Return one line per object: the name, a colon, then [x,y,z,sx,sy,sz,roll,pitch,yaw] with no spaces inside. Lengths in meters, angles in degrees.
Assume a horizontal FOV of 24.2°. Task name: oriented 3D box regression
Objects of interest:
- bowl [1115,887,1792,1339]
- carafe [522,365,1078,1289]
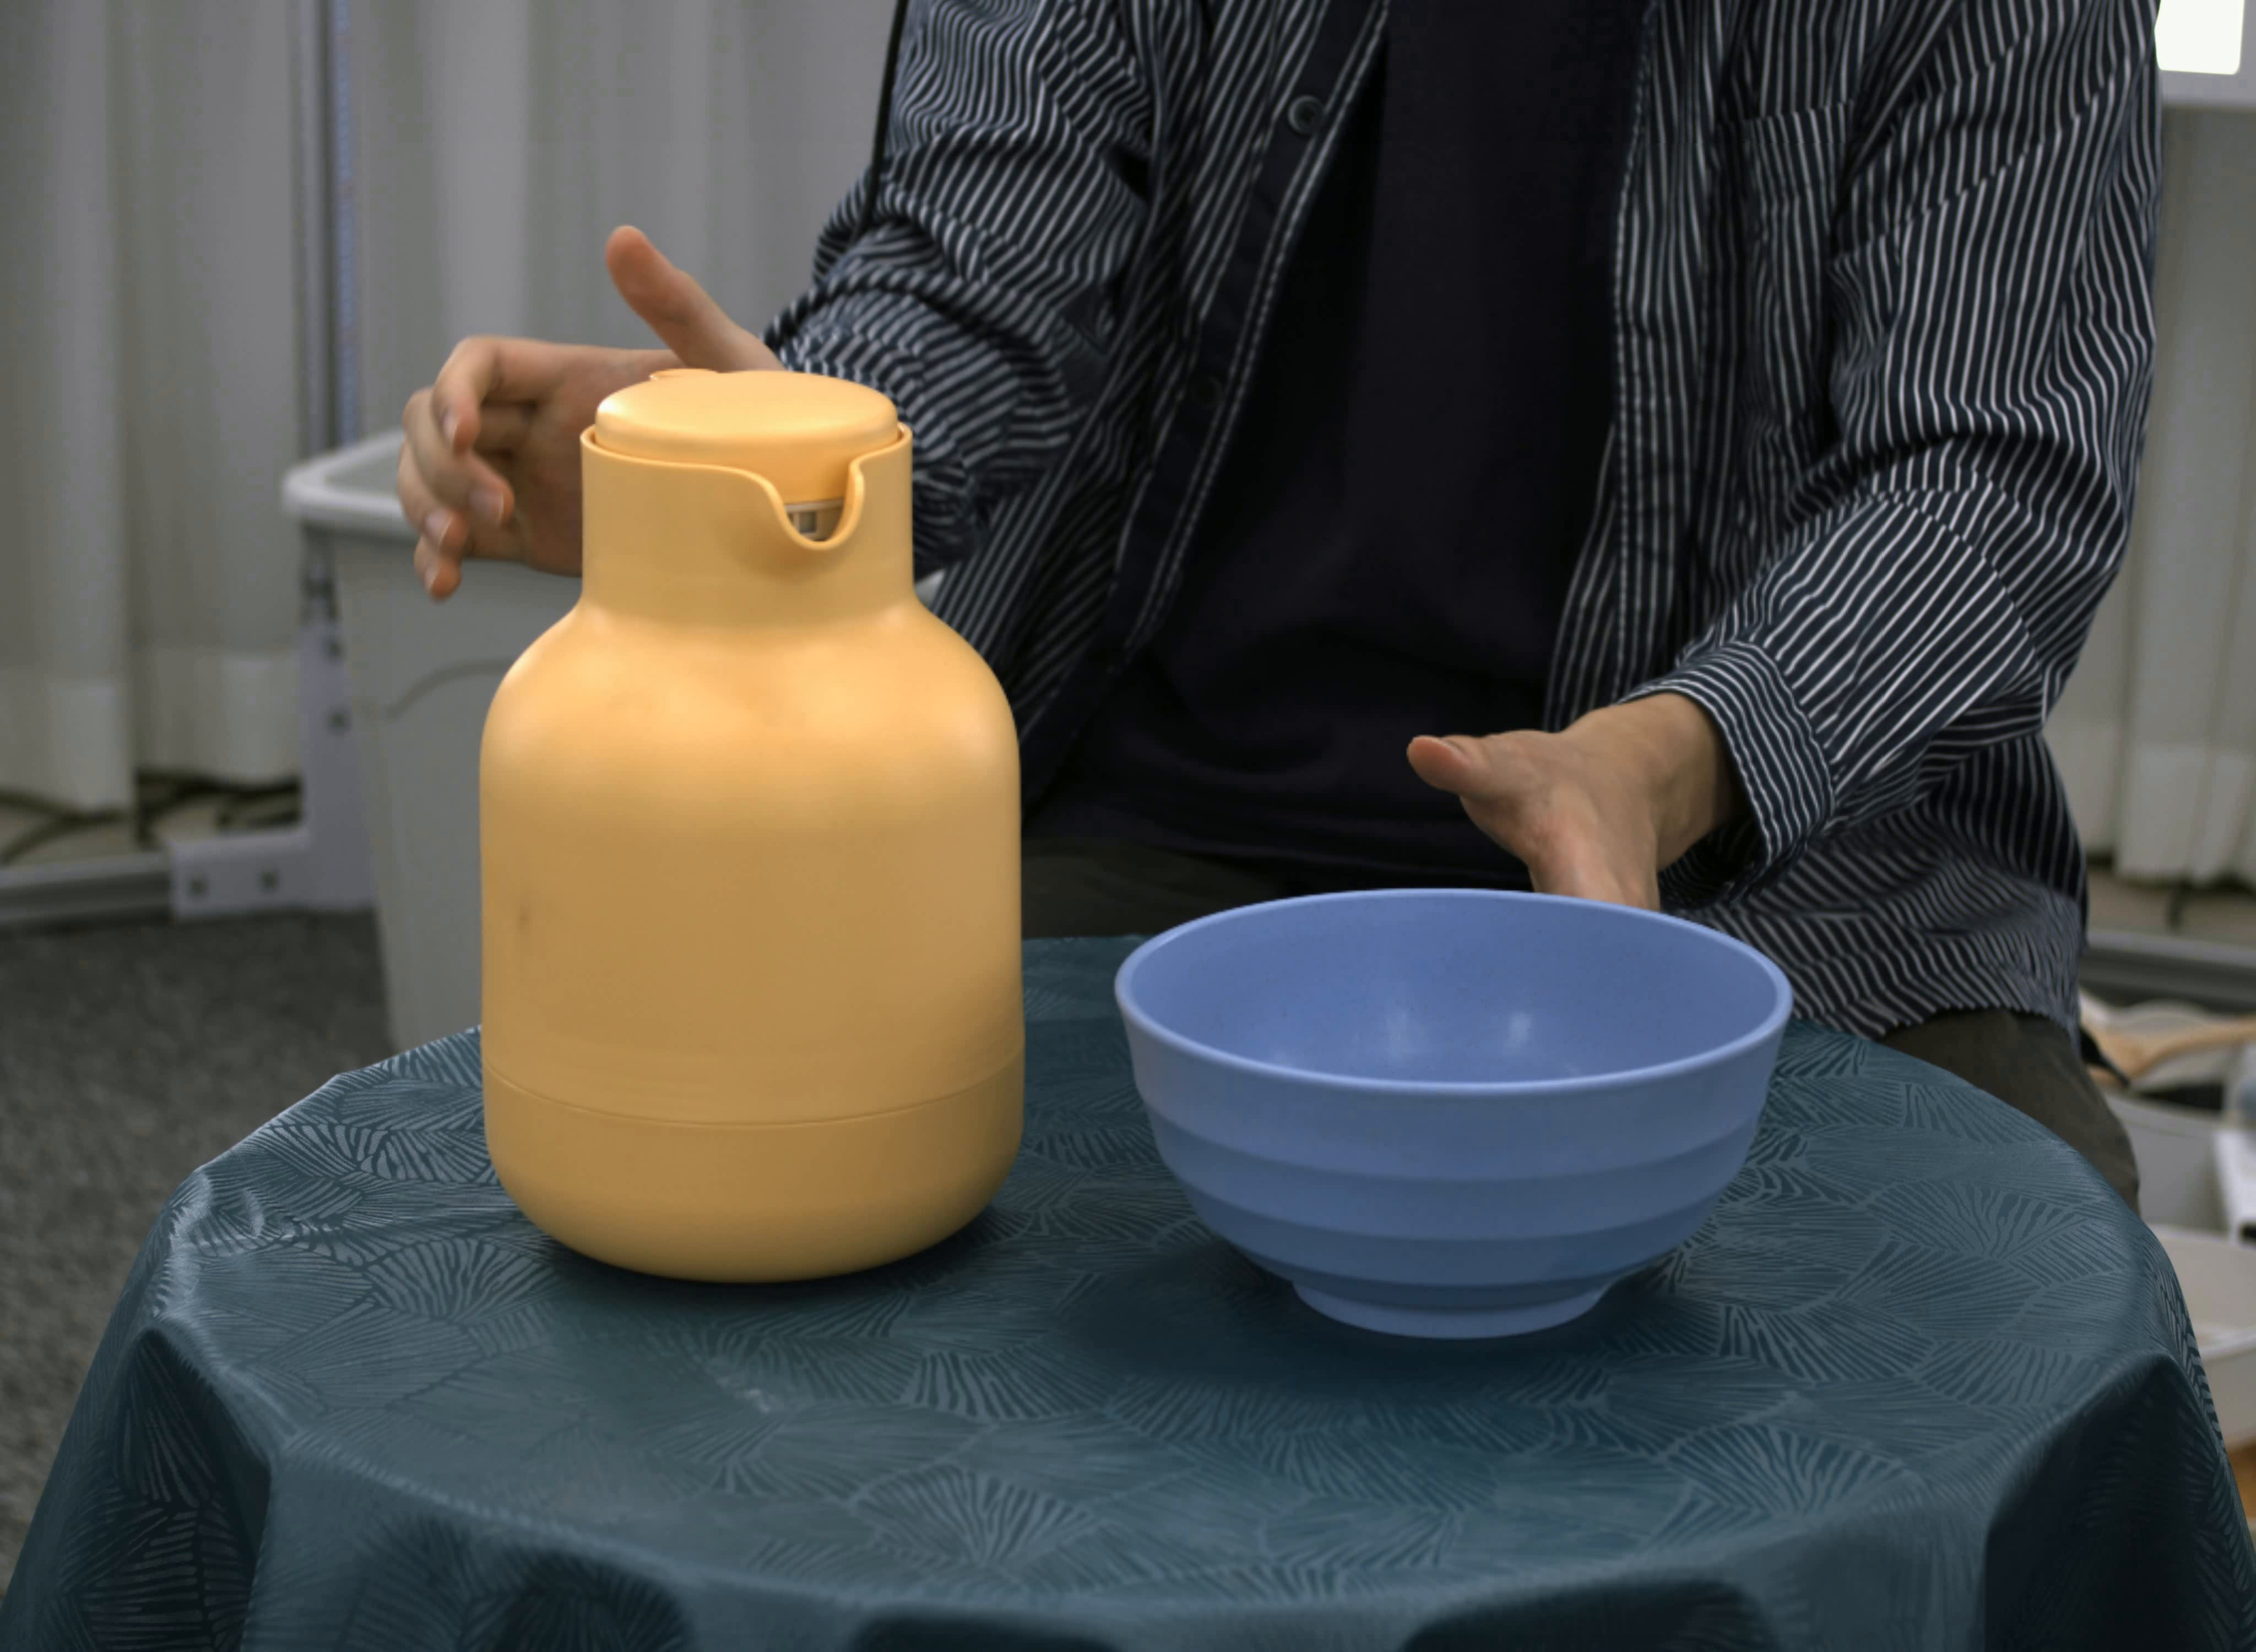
bowl: [0.094,0.090,1.538,0.196,0.096,0.195,0,16,0]
carafe: [-0.104,-0.008,1.572,0.164,0.262,0.200,-6,16,-21]
